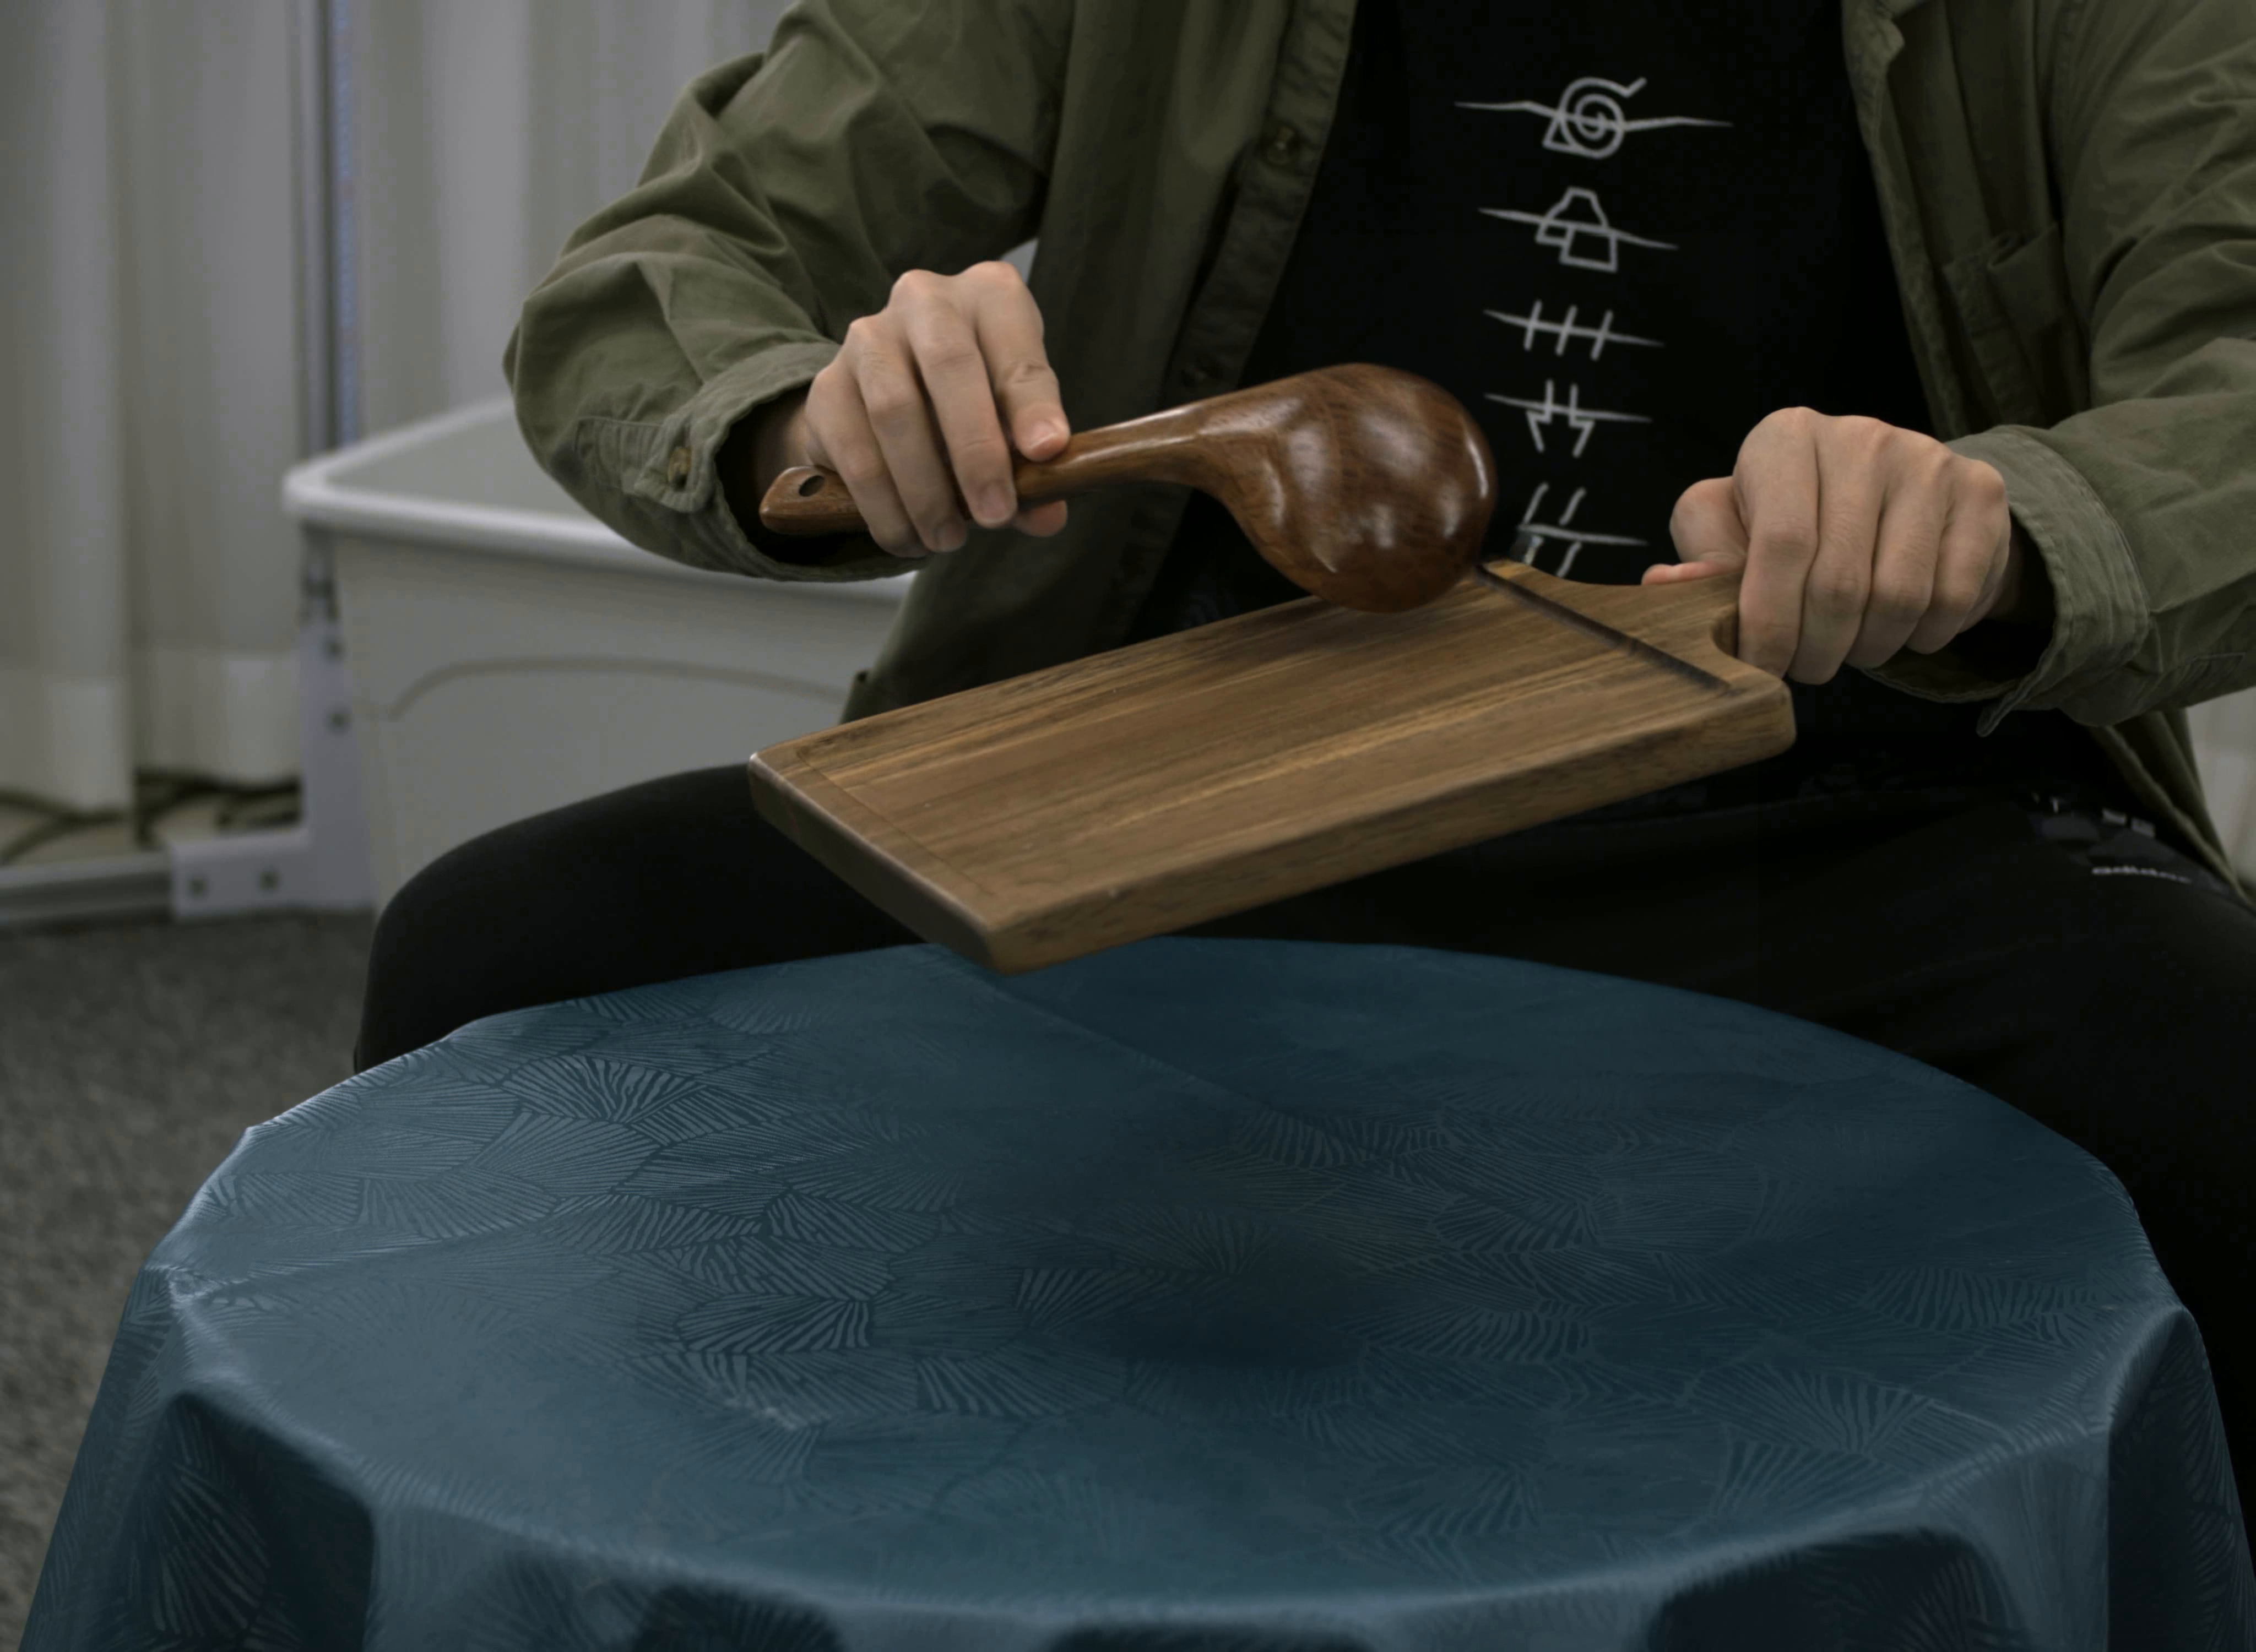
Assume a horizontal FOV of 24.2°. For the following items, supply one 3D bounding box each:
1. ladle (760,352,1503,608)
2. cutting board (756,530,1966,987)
[{"bbox_3d":[0.000,-0.101,1.646,0.271,0.077,0.082,-4,46,45],"label":"ladle"},{"bbox_3d":[0.085,-0.033,1.508,0.352,0.023,0.199,-15,20,-18],"label":"cutting board"}]
